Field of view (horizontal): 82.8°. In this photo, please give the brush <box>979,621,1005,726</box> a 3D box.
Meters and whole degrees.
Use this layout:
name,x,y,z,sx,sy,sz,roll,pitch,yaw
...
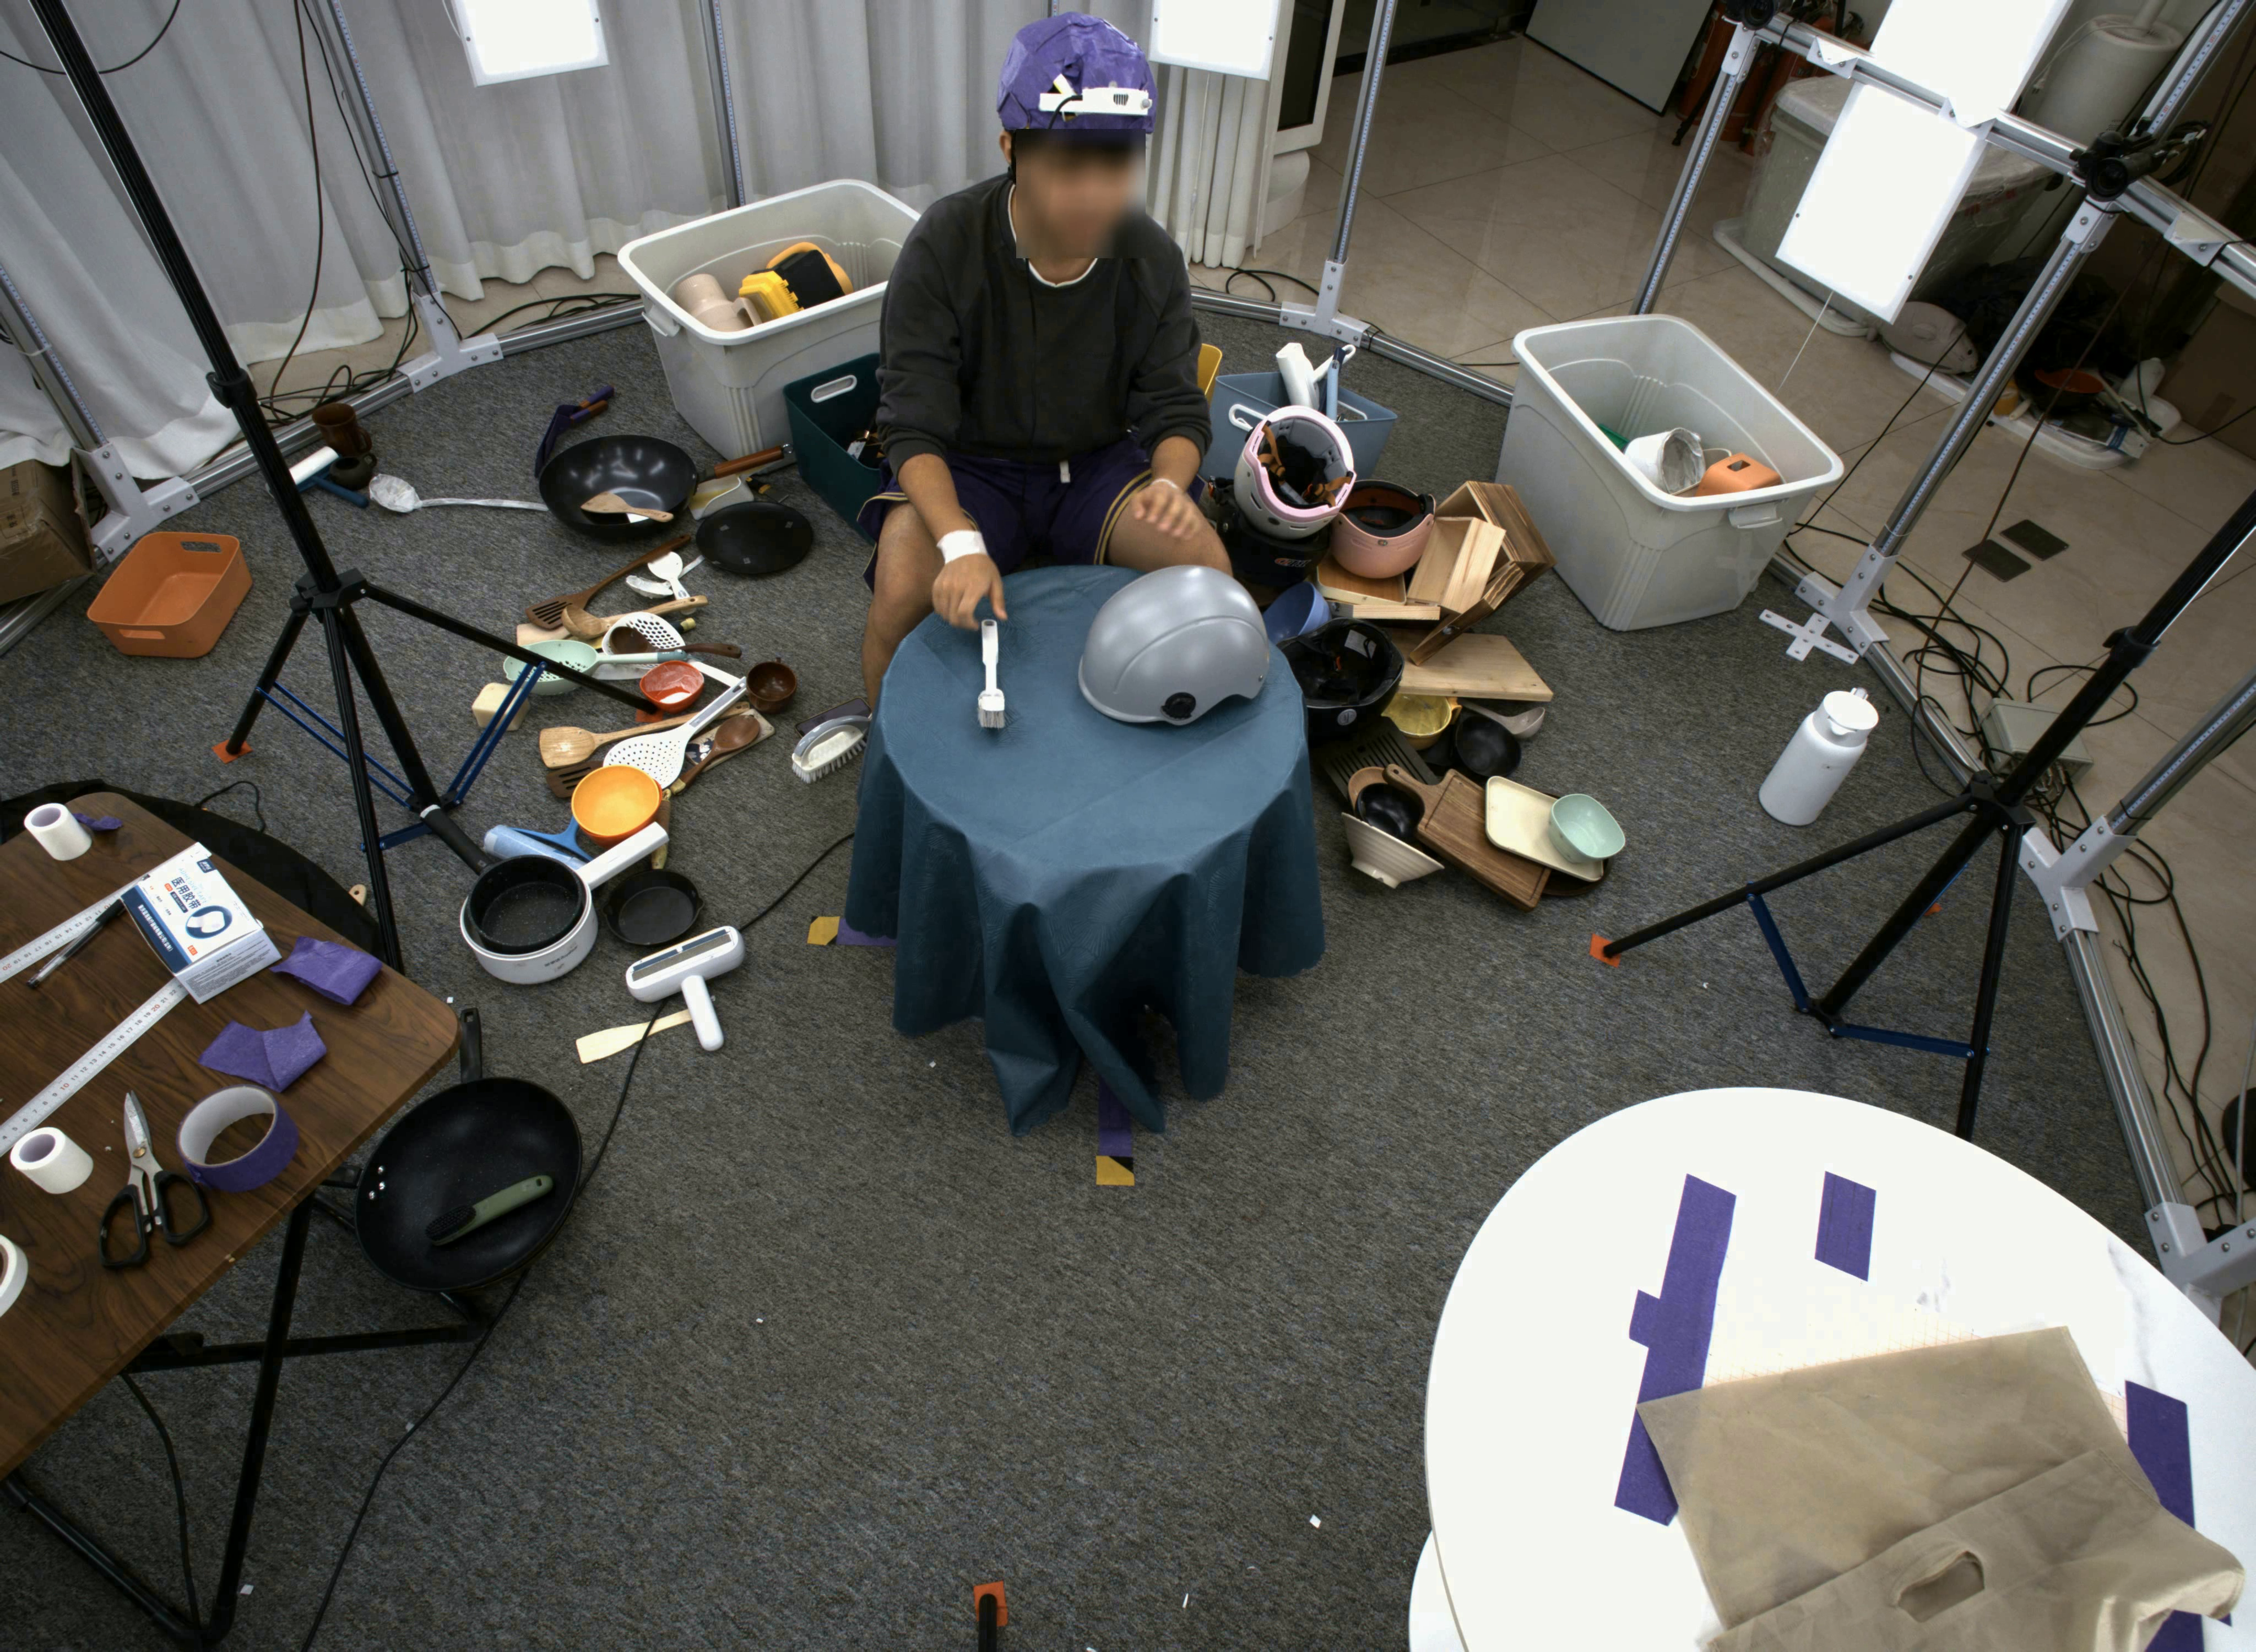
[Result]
name,x,y,z,sx,sy,sz,roll,pitch,yaw
brush,-0.196,-0.216,1.826,0.034,0.049,0.249,0,36,-9

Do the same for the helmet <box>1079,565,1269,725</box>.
name,x,y,z,sx,sy,sz,roll,pitch,yaw
helmet,0.065,-0.273,1.803,0.276,0.164,0.237,-15,52,-14
